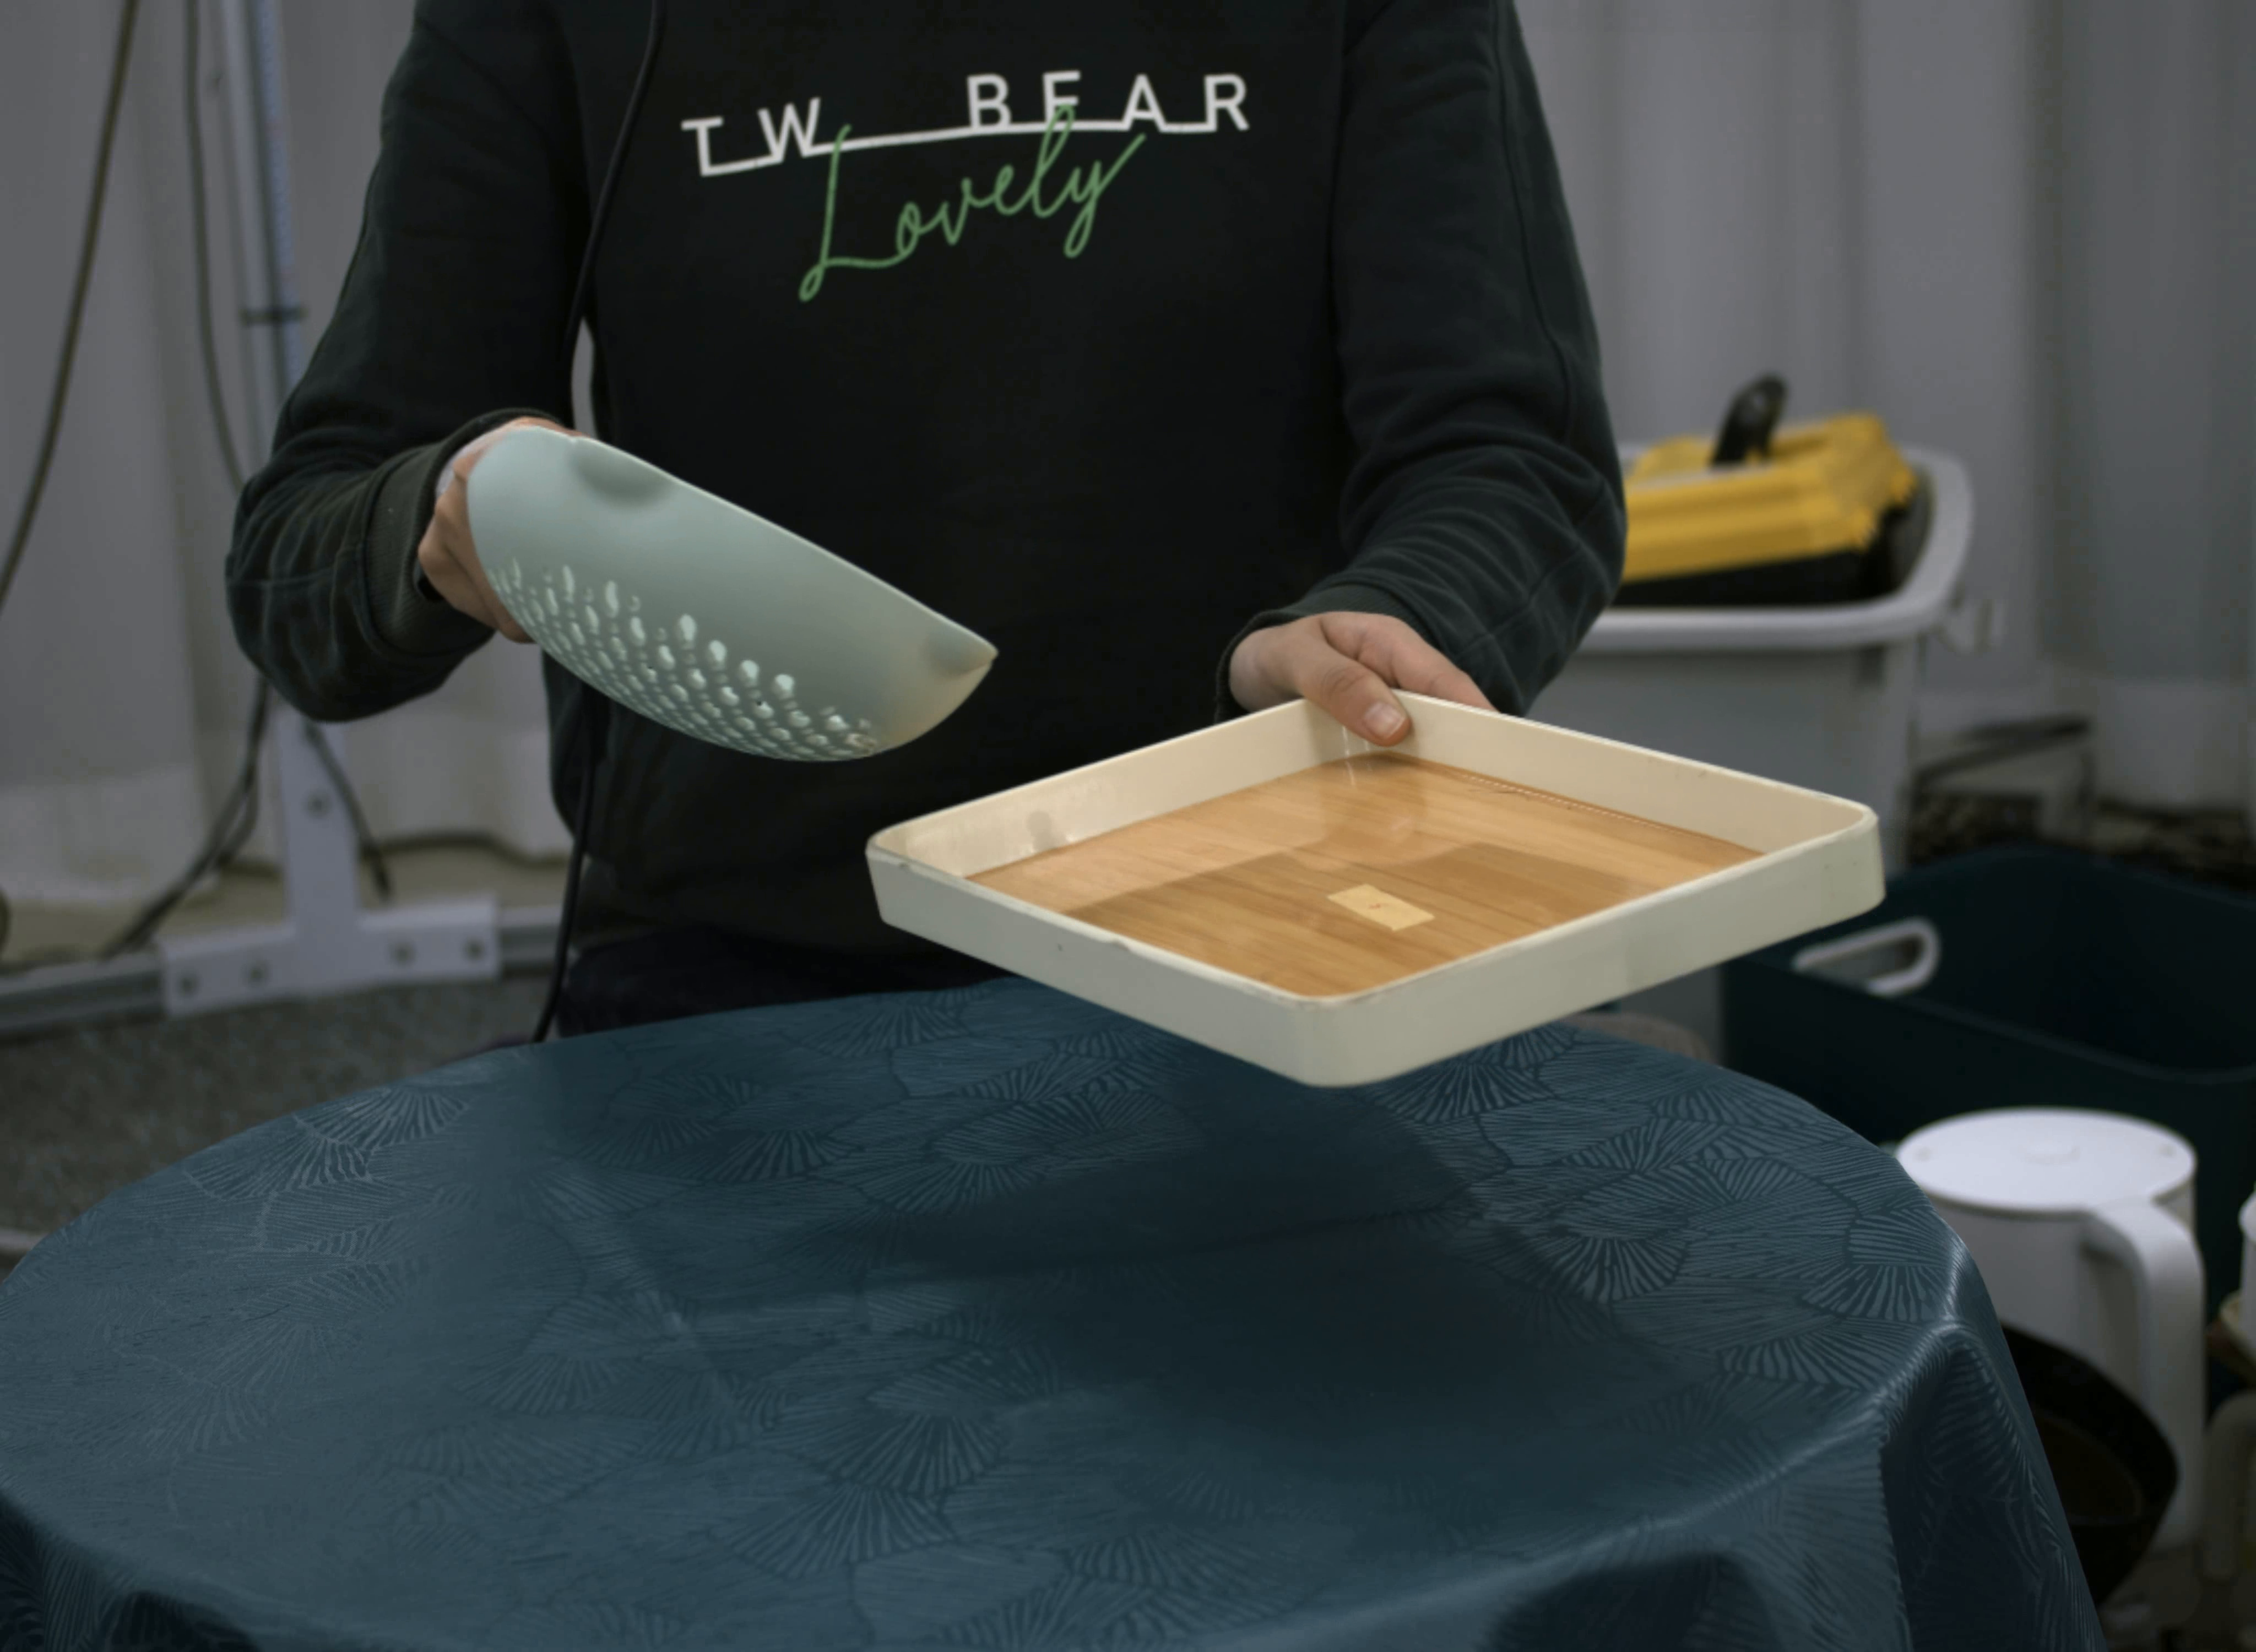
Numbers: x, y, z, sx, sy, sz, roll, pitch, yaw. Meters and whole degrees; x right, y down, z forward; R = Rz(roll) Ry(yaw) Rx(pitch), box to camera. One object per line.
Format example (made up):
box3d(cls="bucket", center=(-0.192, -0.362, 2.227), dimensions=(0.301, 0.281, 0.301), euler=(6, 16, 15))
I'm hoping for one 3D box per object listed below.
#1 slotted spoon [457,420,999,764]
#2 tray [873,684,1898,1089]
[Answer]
box3d(cls="slotted spoon", center=(-0.158, -0.076, 1.727), dimensions=(0.168, 0.075, 0.361), euler=(29, 0, -19))
box3d(cls="tray", center=(0.068, 0.013, 1.602), dimensions=(0.191, 0.027, 0.302), euler=(-18, 17, -24))
